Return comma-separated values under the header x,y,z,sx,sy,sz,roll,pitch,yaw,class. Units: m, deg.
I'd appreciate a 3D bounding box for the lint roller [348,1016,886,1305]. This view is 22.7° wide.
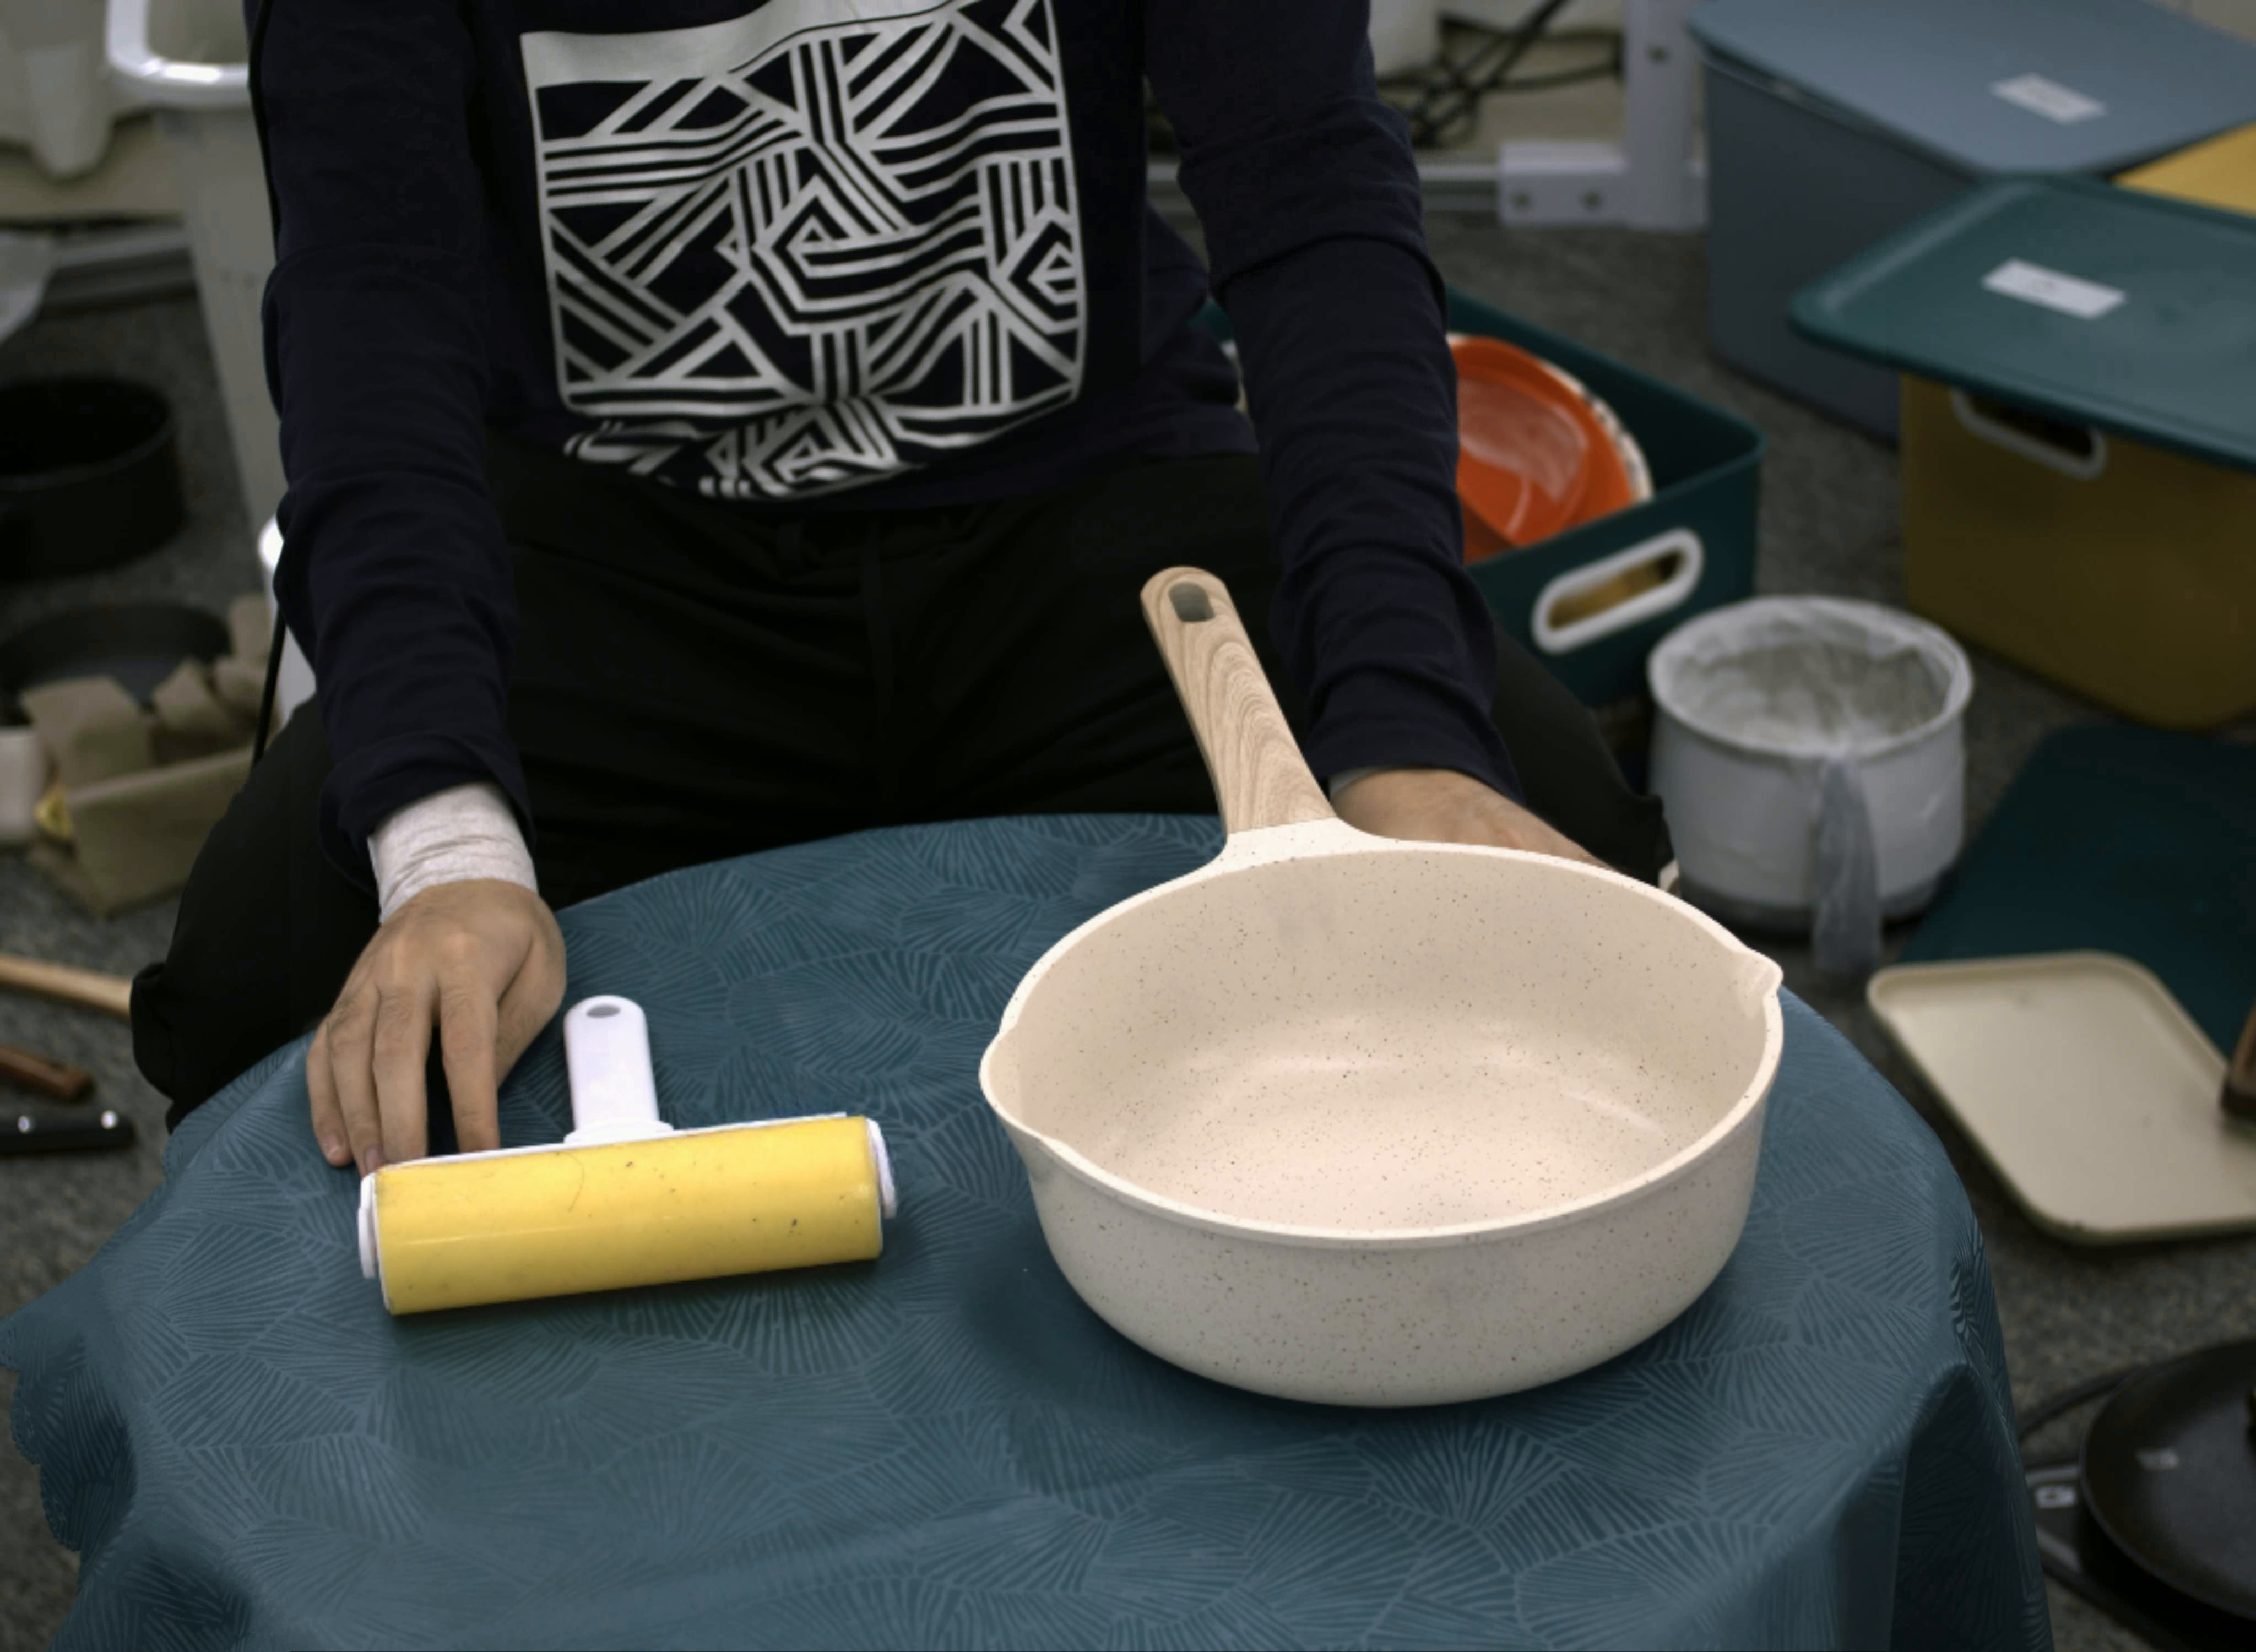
x,y,z,sx,sy,sz,roll,pitch,yaw,class
-0.175,0.095,1.882,0.174,0.051,0.194,-6,27,-7,lint roller

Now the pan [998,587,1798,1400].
x,y,z,sx,sy,sz,roll,pitch,yaw,class
0.070,0.051,1.887,0.263,0.101,0.439,-10,27,-9,pan
